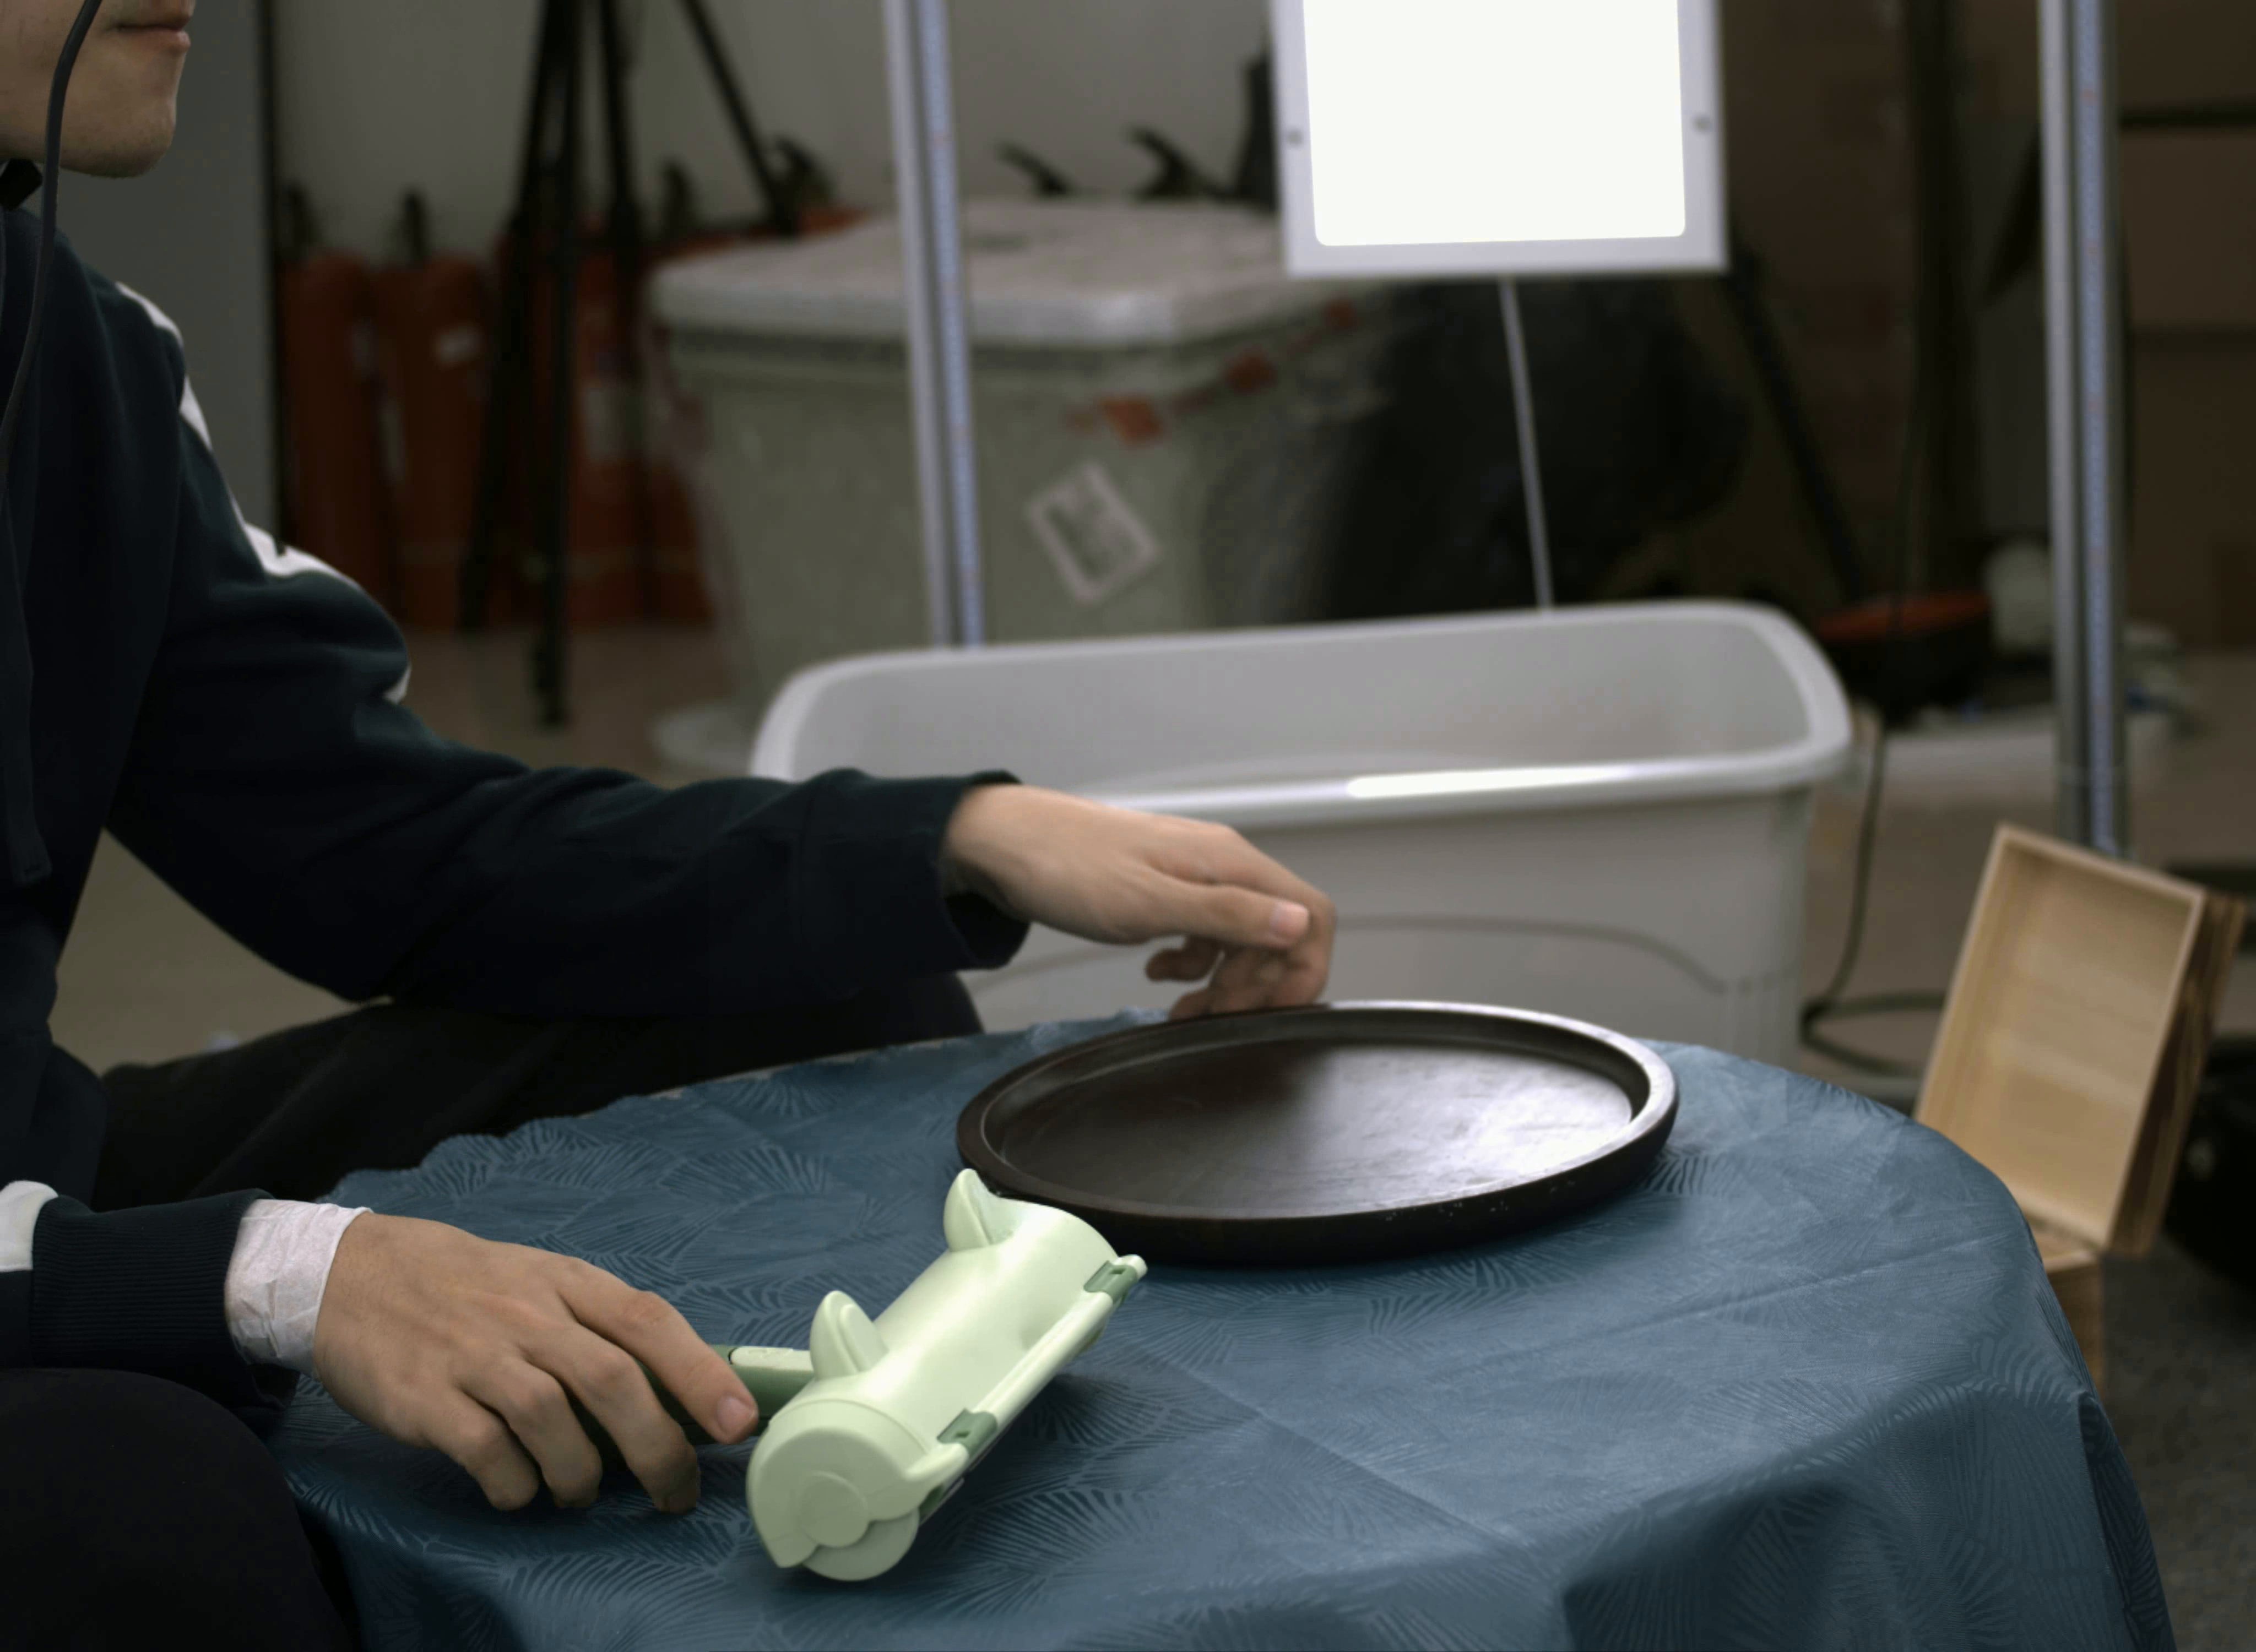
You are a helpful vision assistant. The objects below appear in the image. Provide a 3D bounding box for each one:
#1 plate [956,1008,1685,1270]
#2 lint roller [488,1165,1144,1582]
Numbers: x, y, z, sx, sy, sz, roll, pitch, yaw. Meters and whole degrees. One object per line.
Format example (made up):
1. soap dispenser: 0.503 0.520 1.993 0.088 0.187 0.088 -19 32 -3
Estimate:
1. plate: 0.067 0.105 1.906 0.254 0.029 0.254 -5 15 0
2. lint roller: -0.108 0.155 1.650 0.185 0.082 0.195 4 16 19
